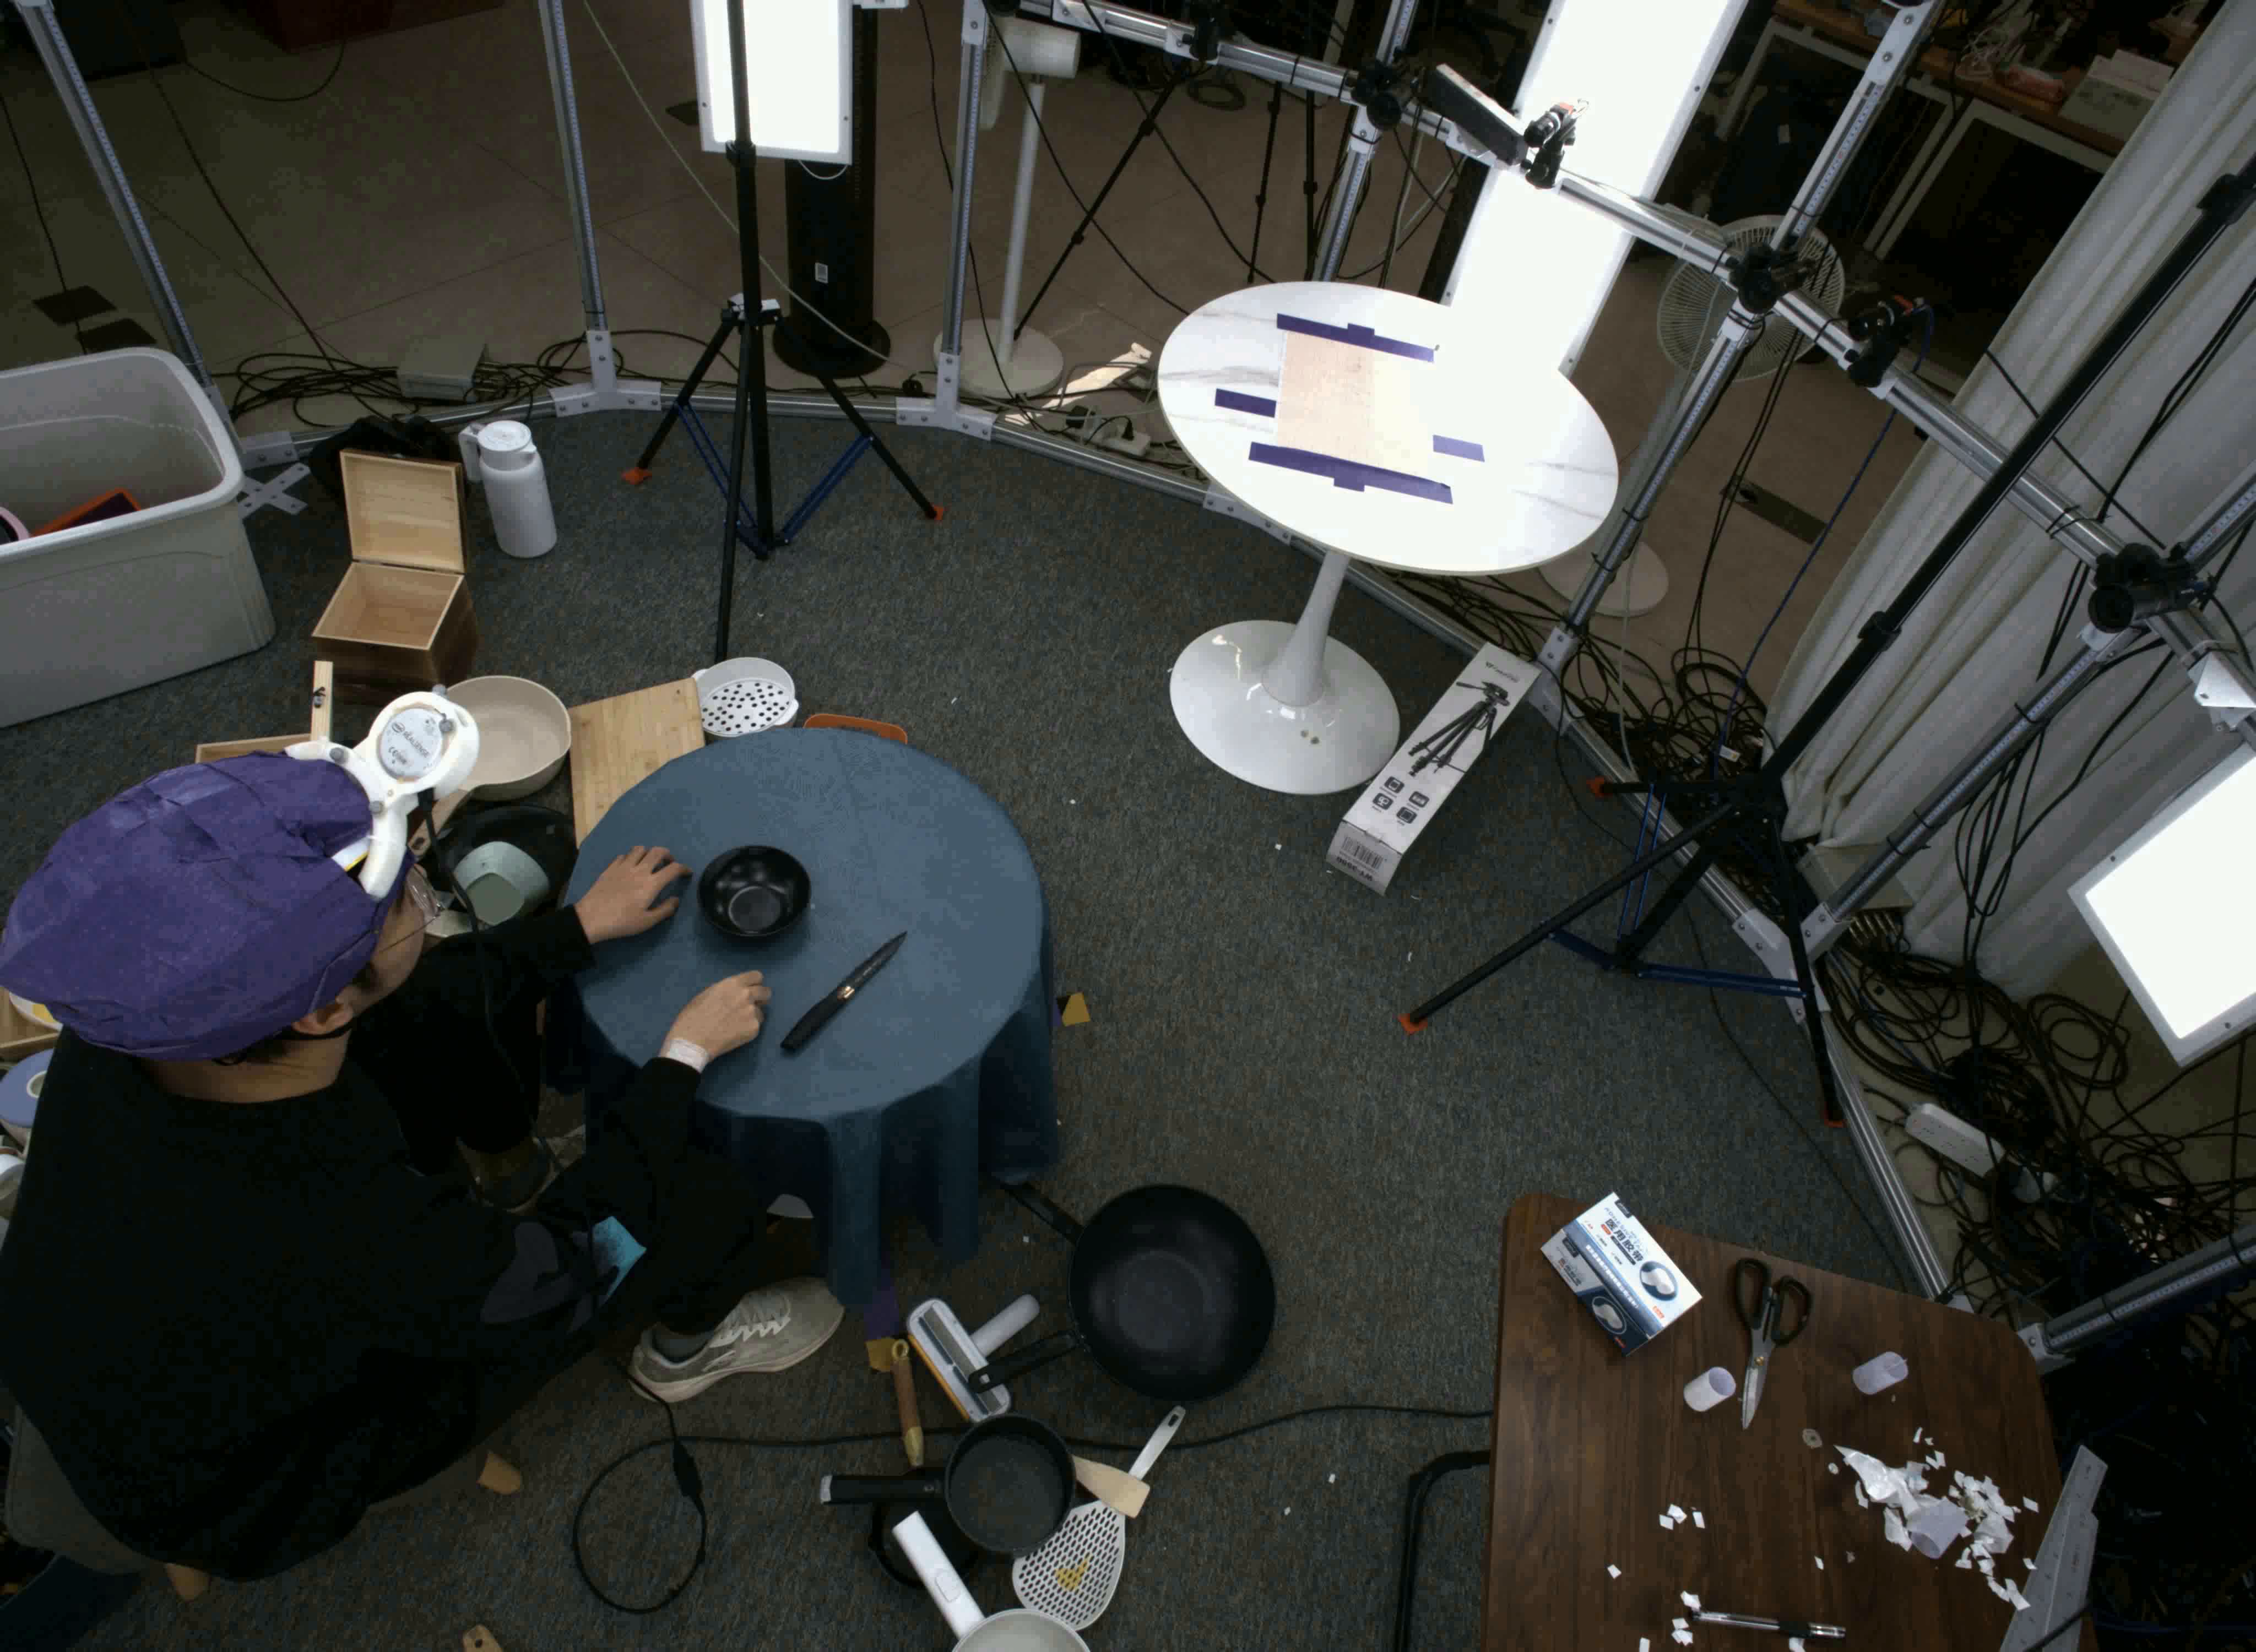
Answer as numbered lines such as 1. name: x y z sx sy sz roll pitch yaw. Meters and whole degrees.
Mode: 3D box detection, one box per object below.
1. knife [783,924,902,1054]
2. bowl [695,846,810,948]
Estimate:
1. knife: -0.342 0.193 1.584 0.025 0.017 0.225 31 51 13
2. bowl: -0.464 0.094 1.604 0.140 0.050 0.138 7 57 -8
